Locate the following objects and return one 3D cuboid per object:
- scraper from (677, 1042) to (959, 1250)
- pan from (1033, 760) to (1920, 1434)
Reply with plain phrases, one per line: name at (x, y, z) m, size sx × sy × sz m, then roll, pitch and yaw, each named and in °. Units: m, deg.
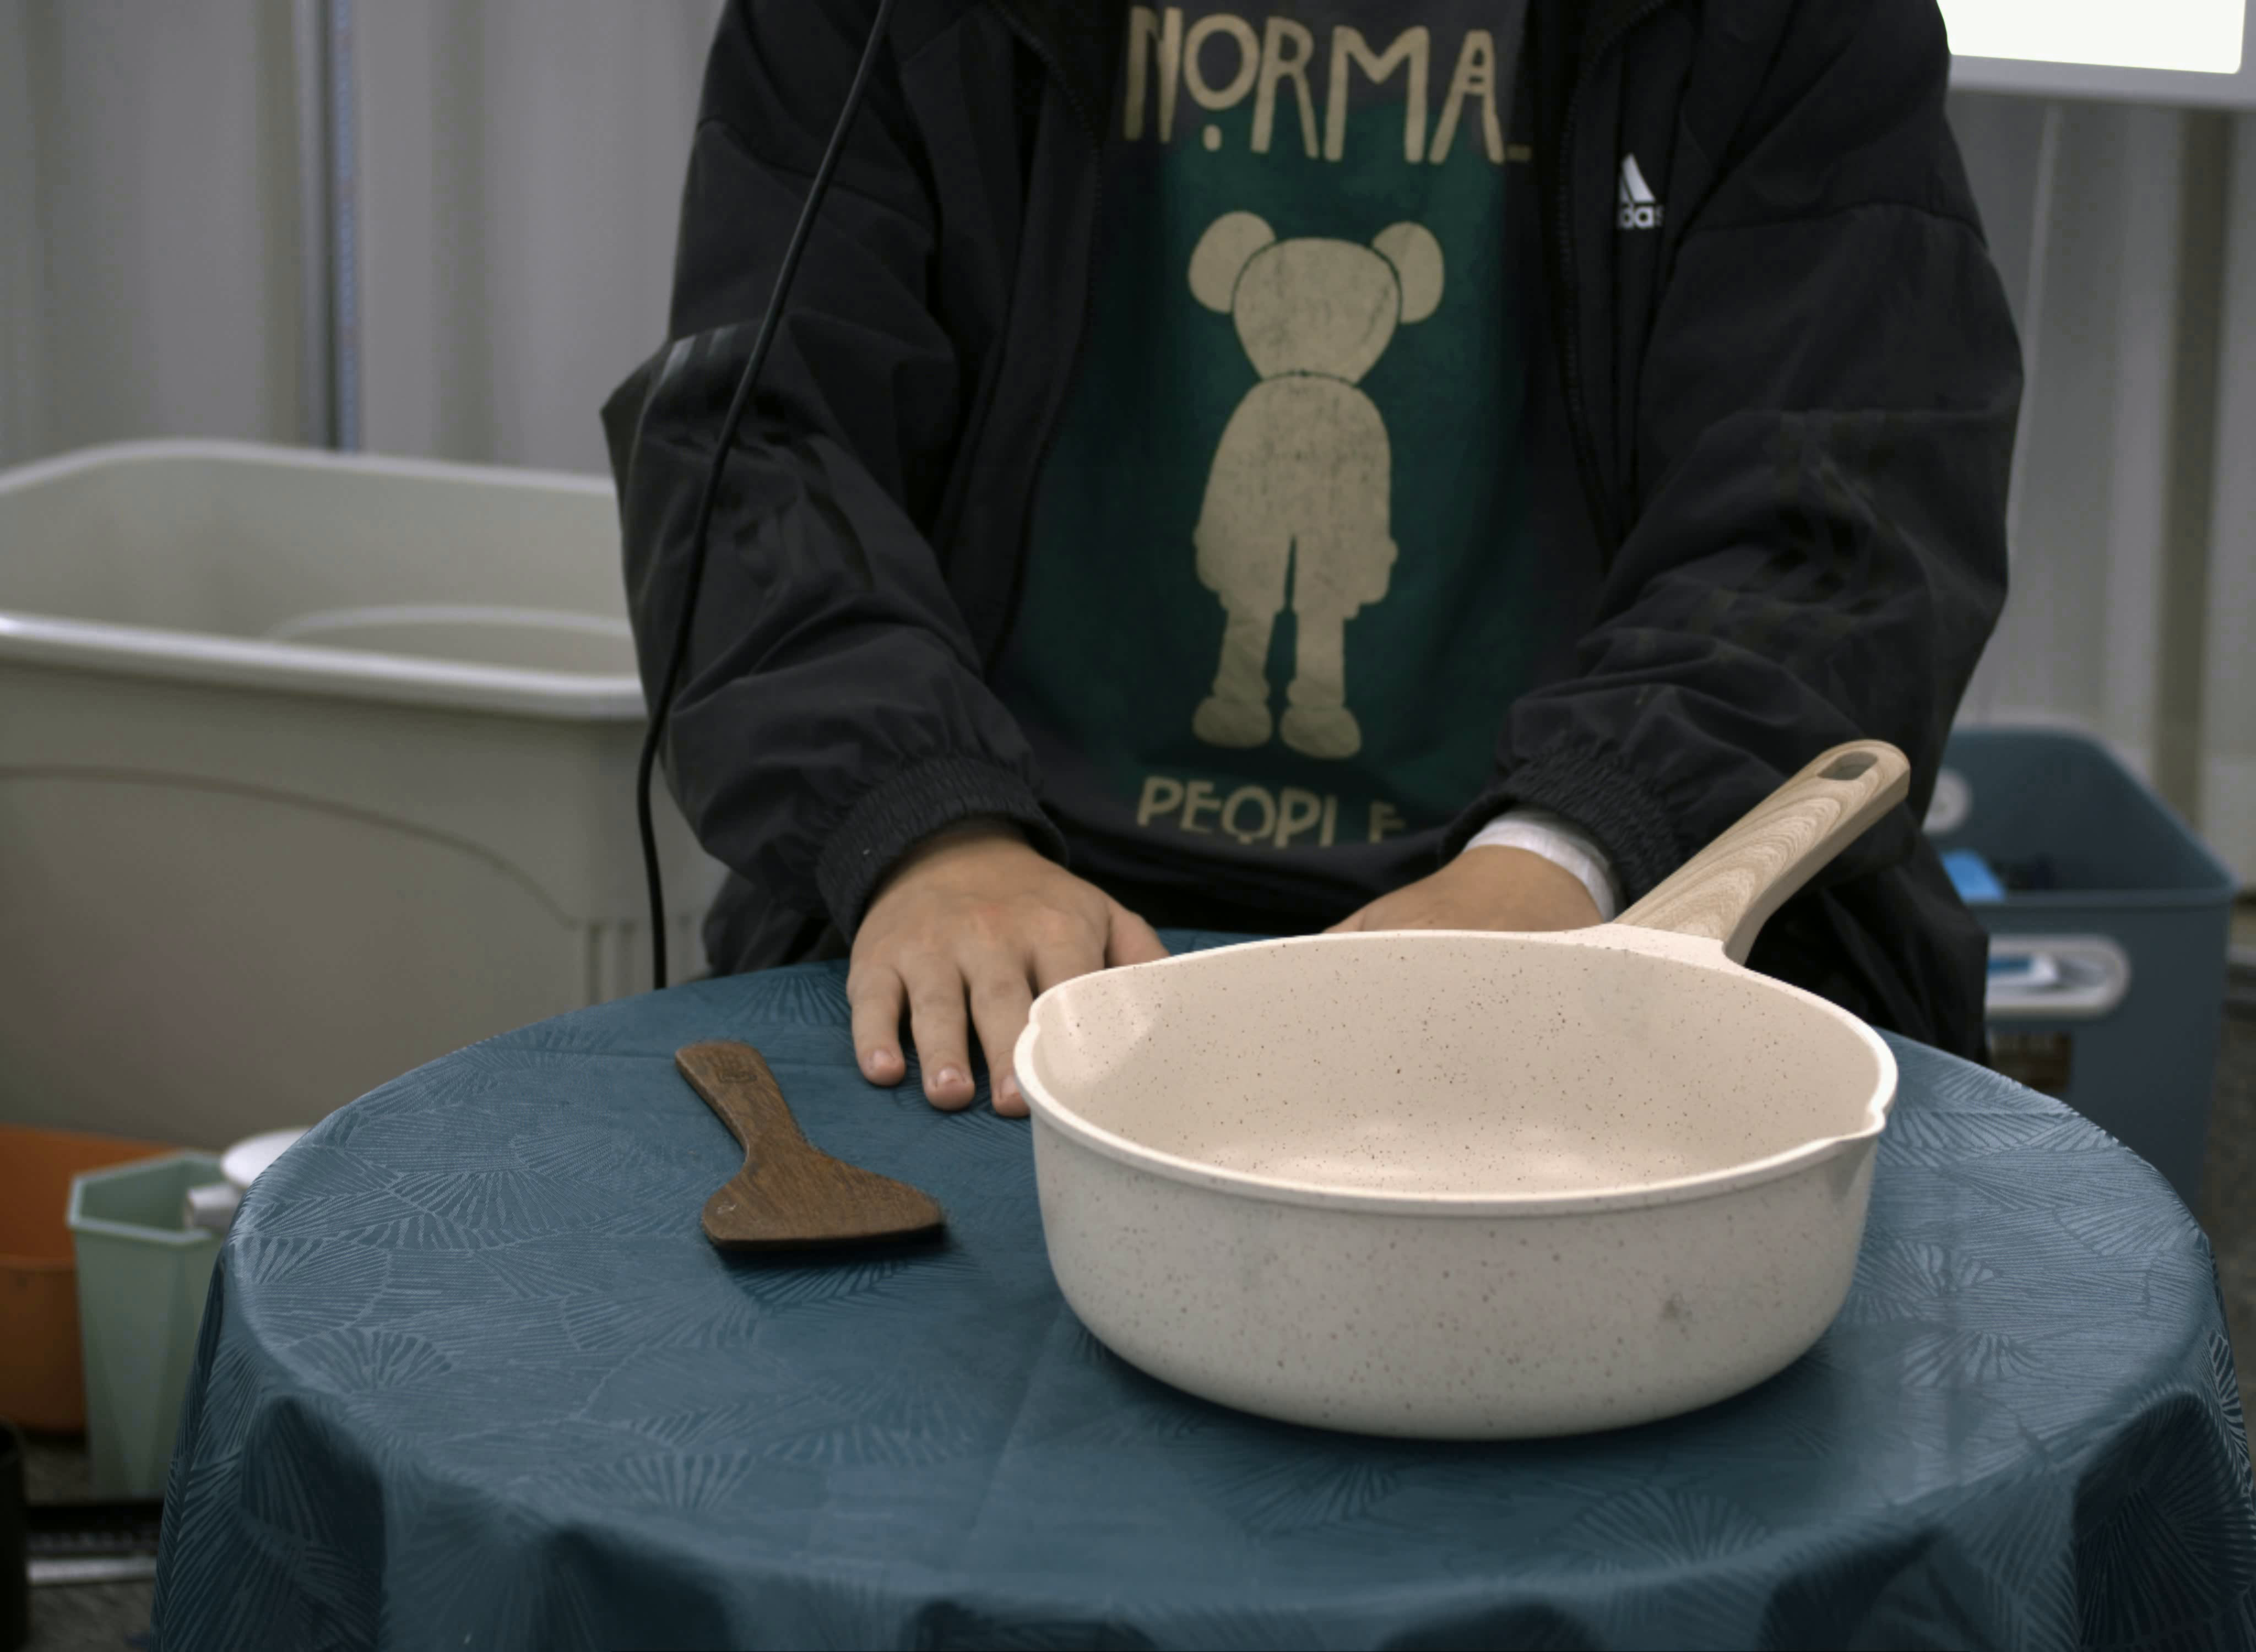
scraper at (-0.110, 0.100, 1.651) m, size 0.076 × 0.011 × 0.209 m, roll -2°, pitch 15°, yaw -15°
pan at (0.143, 0.075, 1.579) m, size 0.260 × 0.103 × 0.436 m, roll 7°, pitch 16°, yaw 28°
